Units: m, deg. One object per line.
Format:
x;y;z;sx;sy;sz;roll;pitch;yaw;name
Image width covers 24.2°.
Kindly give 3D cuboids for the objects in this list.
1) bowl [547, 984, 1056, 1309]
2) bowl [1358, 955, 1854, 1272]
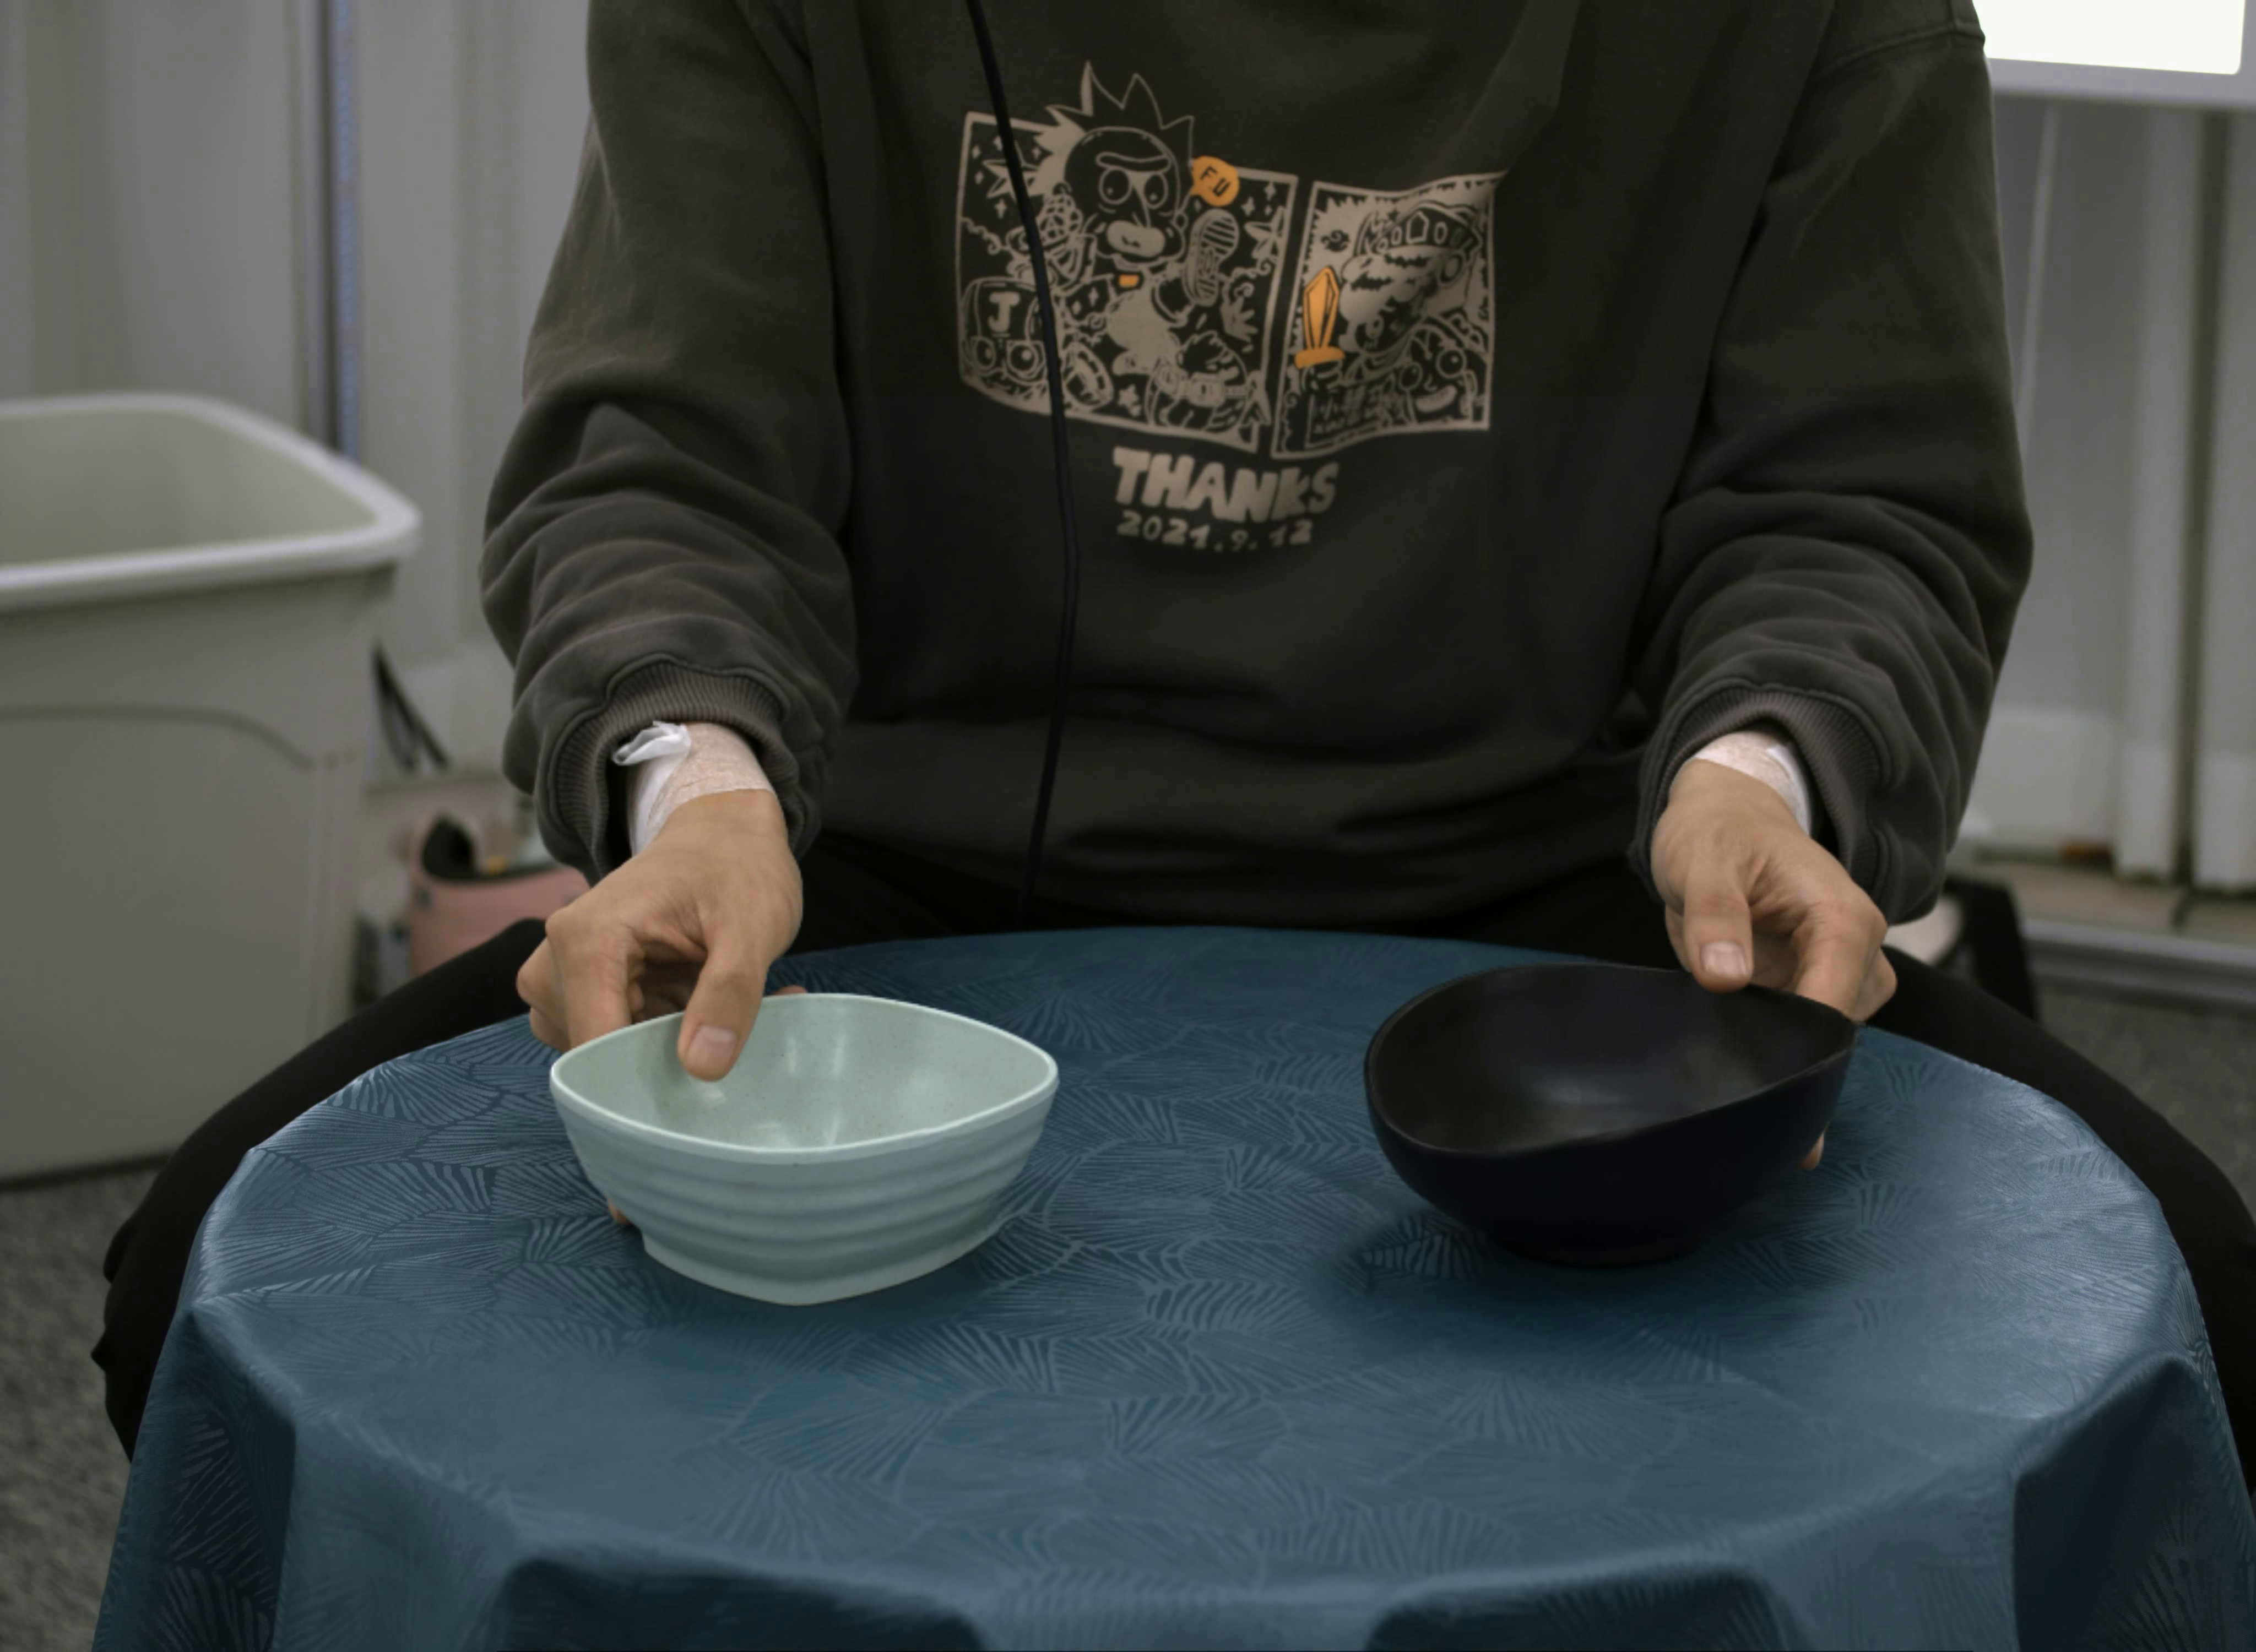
-0.097;0.099;1.569;0.151;0.059;0.150;2;17;0;bowl
0.144;0.092;1.589;0.135;0.067;0.171;13;21;37;bowl
